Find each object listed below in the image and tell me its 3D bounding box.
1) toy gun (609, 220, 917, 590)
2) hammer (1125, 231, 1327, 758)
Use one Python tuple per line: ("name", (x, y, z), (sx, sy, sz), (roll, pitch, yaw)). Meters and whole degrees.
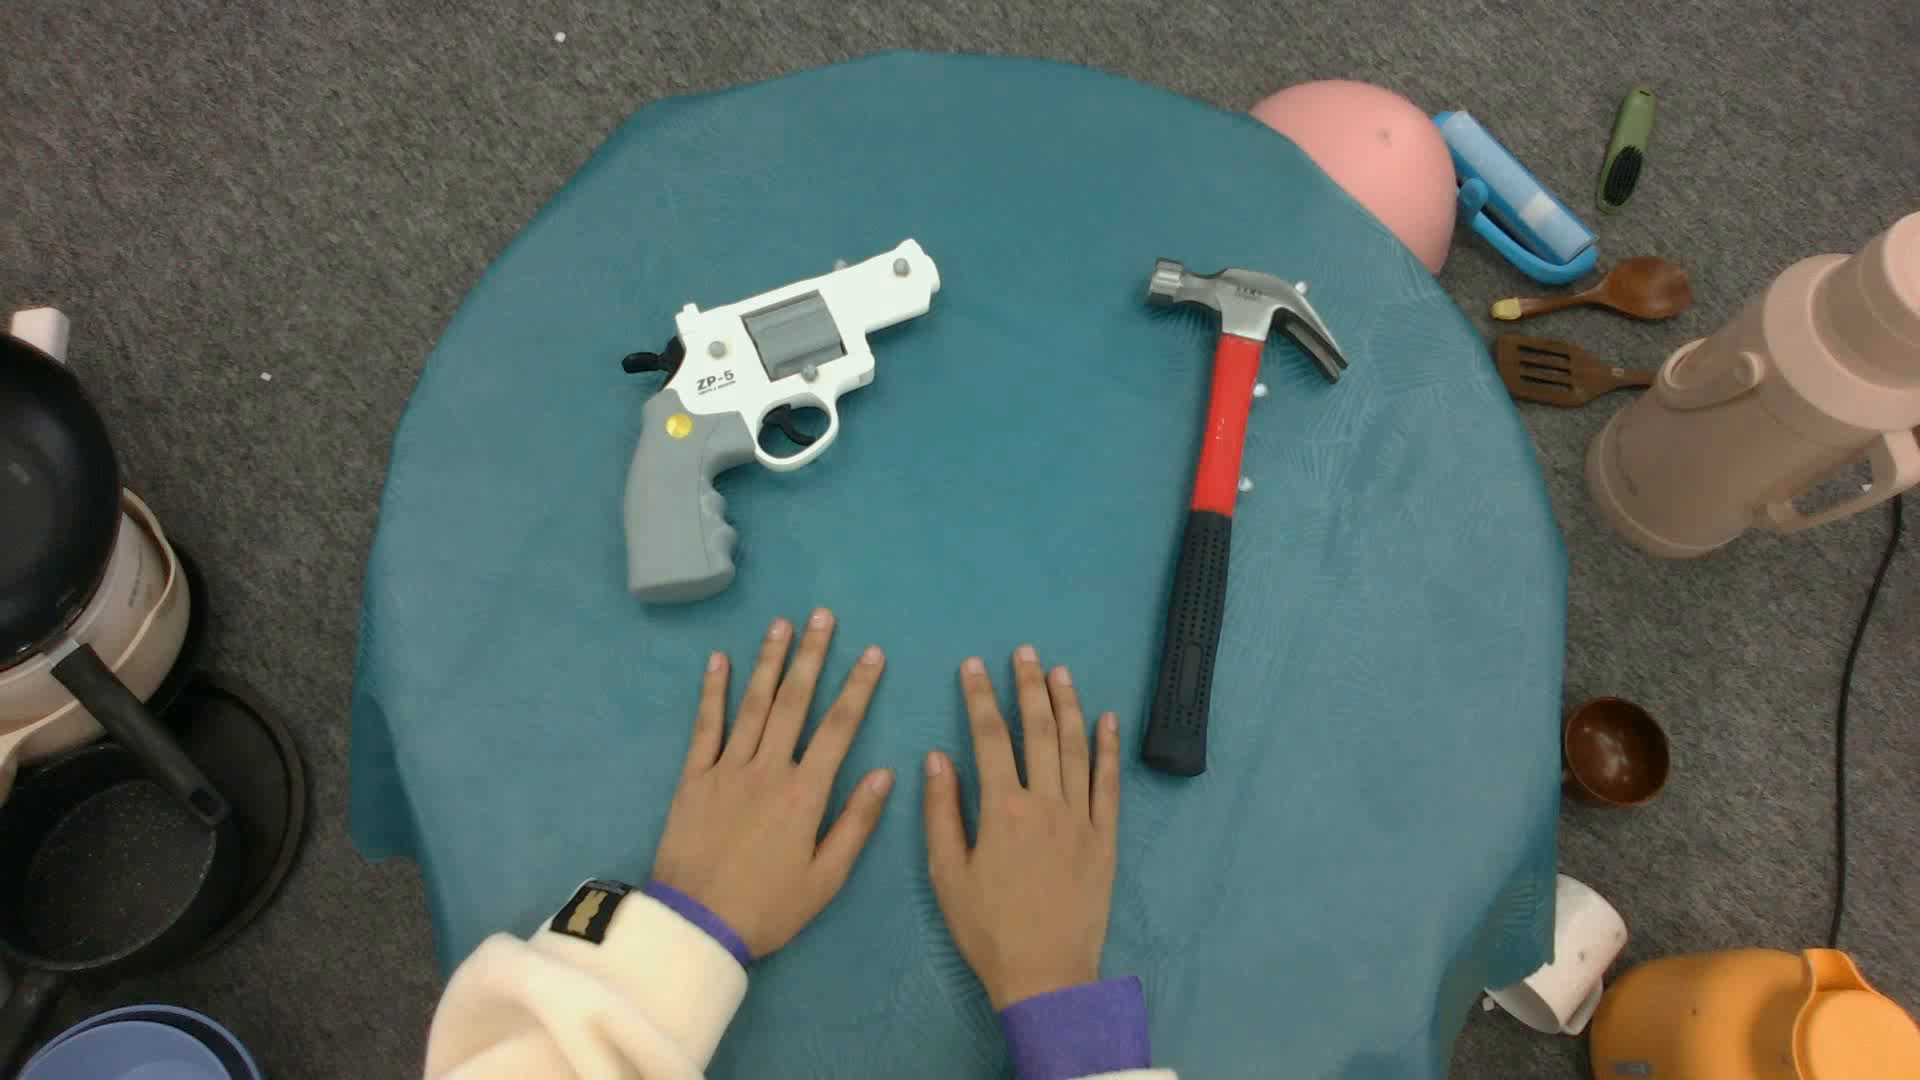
("toy gun", (-0.096, -0.073, 0.690), (0.209, 0.038, 0.142), (-25, 72, -14))
("hammer", (0.122, -0.026, 0.700), (0.111, 0.026, 0.278), (16, 69, -9))
